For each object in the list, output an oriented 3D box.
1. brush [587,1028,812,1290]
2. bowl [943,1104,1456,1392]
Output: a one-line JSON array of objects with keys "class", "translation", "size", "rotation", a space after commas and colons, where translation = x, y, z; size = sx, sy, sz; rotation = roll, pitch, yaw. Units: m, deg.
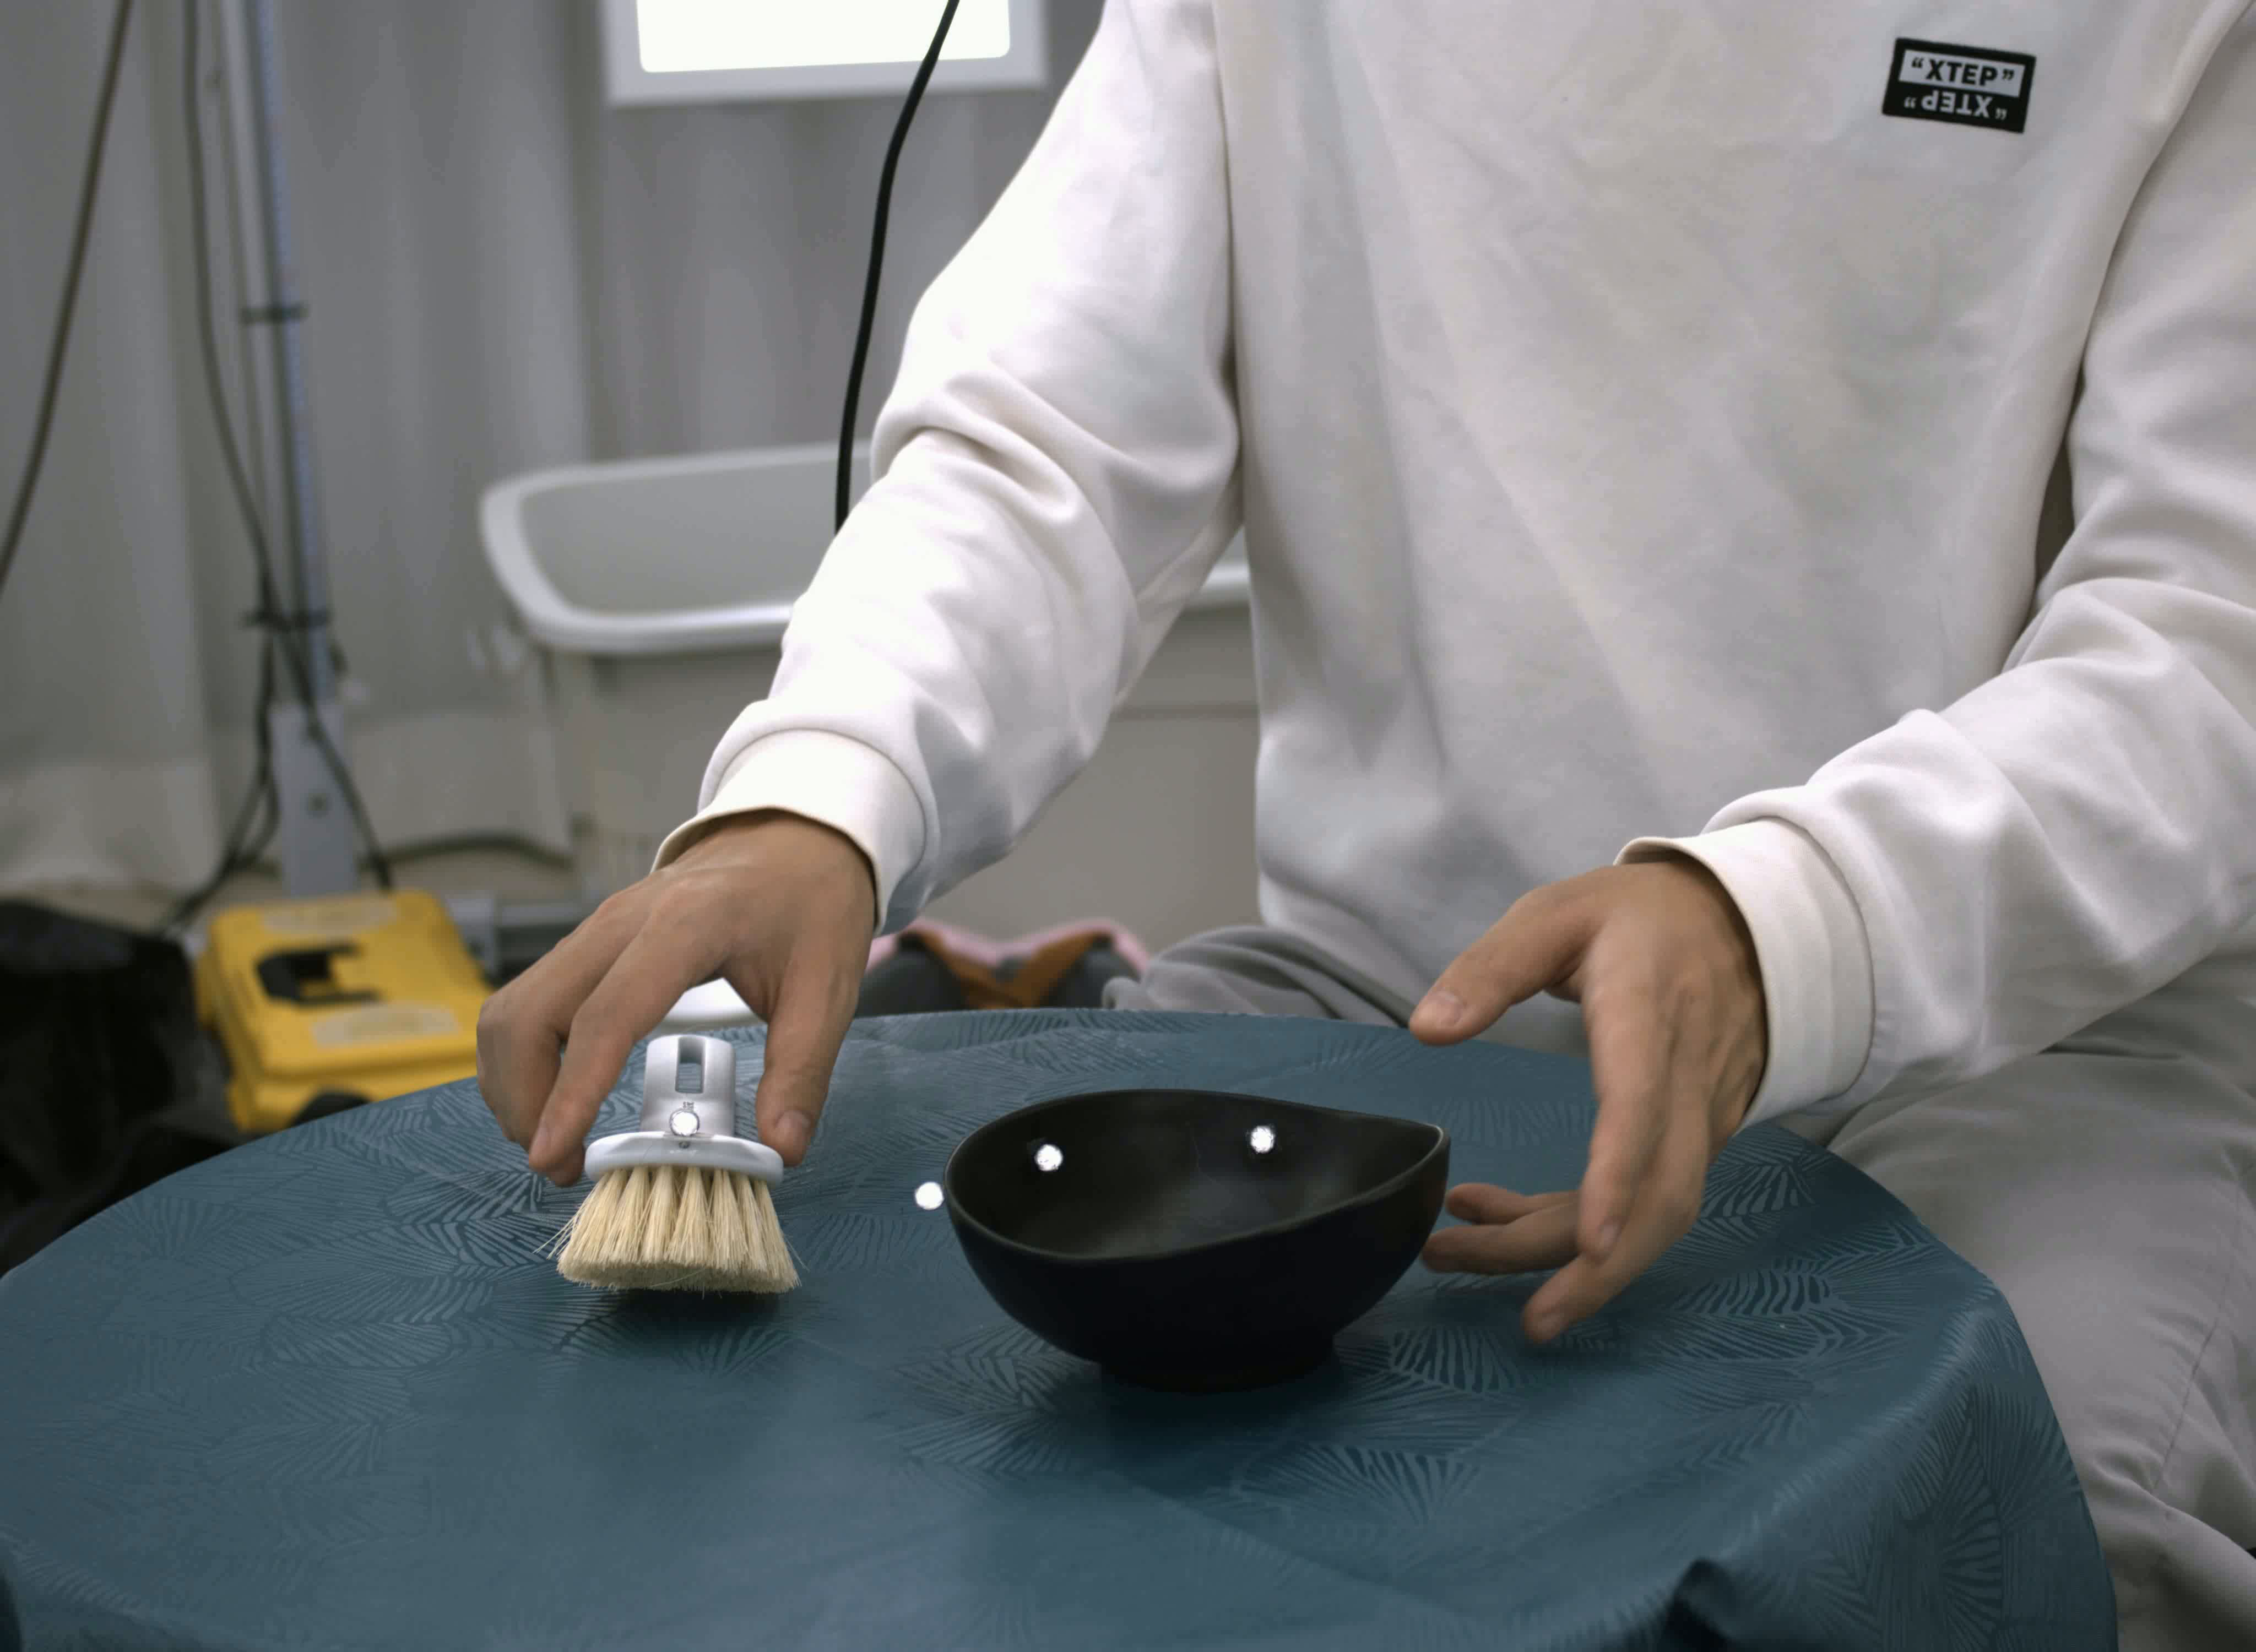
[{"class": "brush", "translation": [-0.139, 0.105, 1.729], "size": [0.068, 0.056, 0.267], "rotation": [10, 2, -9]}, {"class": "bowl", "translation": [0.022, 0.122, 1.565], "size": [0.138, 0.066, 0.170], "rotation": [6, 14, 31]}]
